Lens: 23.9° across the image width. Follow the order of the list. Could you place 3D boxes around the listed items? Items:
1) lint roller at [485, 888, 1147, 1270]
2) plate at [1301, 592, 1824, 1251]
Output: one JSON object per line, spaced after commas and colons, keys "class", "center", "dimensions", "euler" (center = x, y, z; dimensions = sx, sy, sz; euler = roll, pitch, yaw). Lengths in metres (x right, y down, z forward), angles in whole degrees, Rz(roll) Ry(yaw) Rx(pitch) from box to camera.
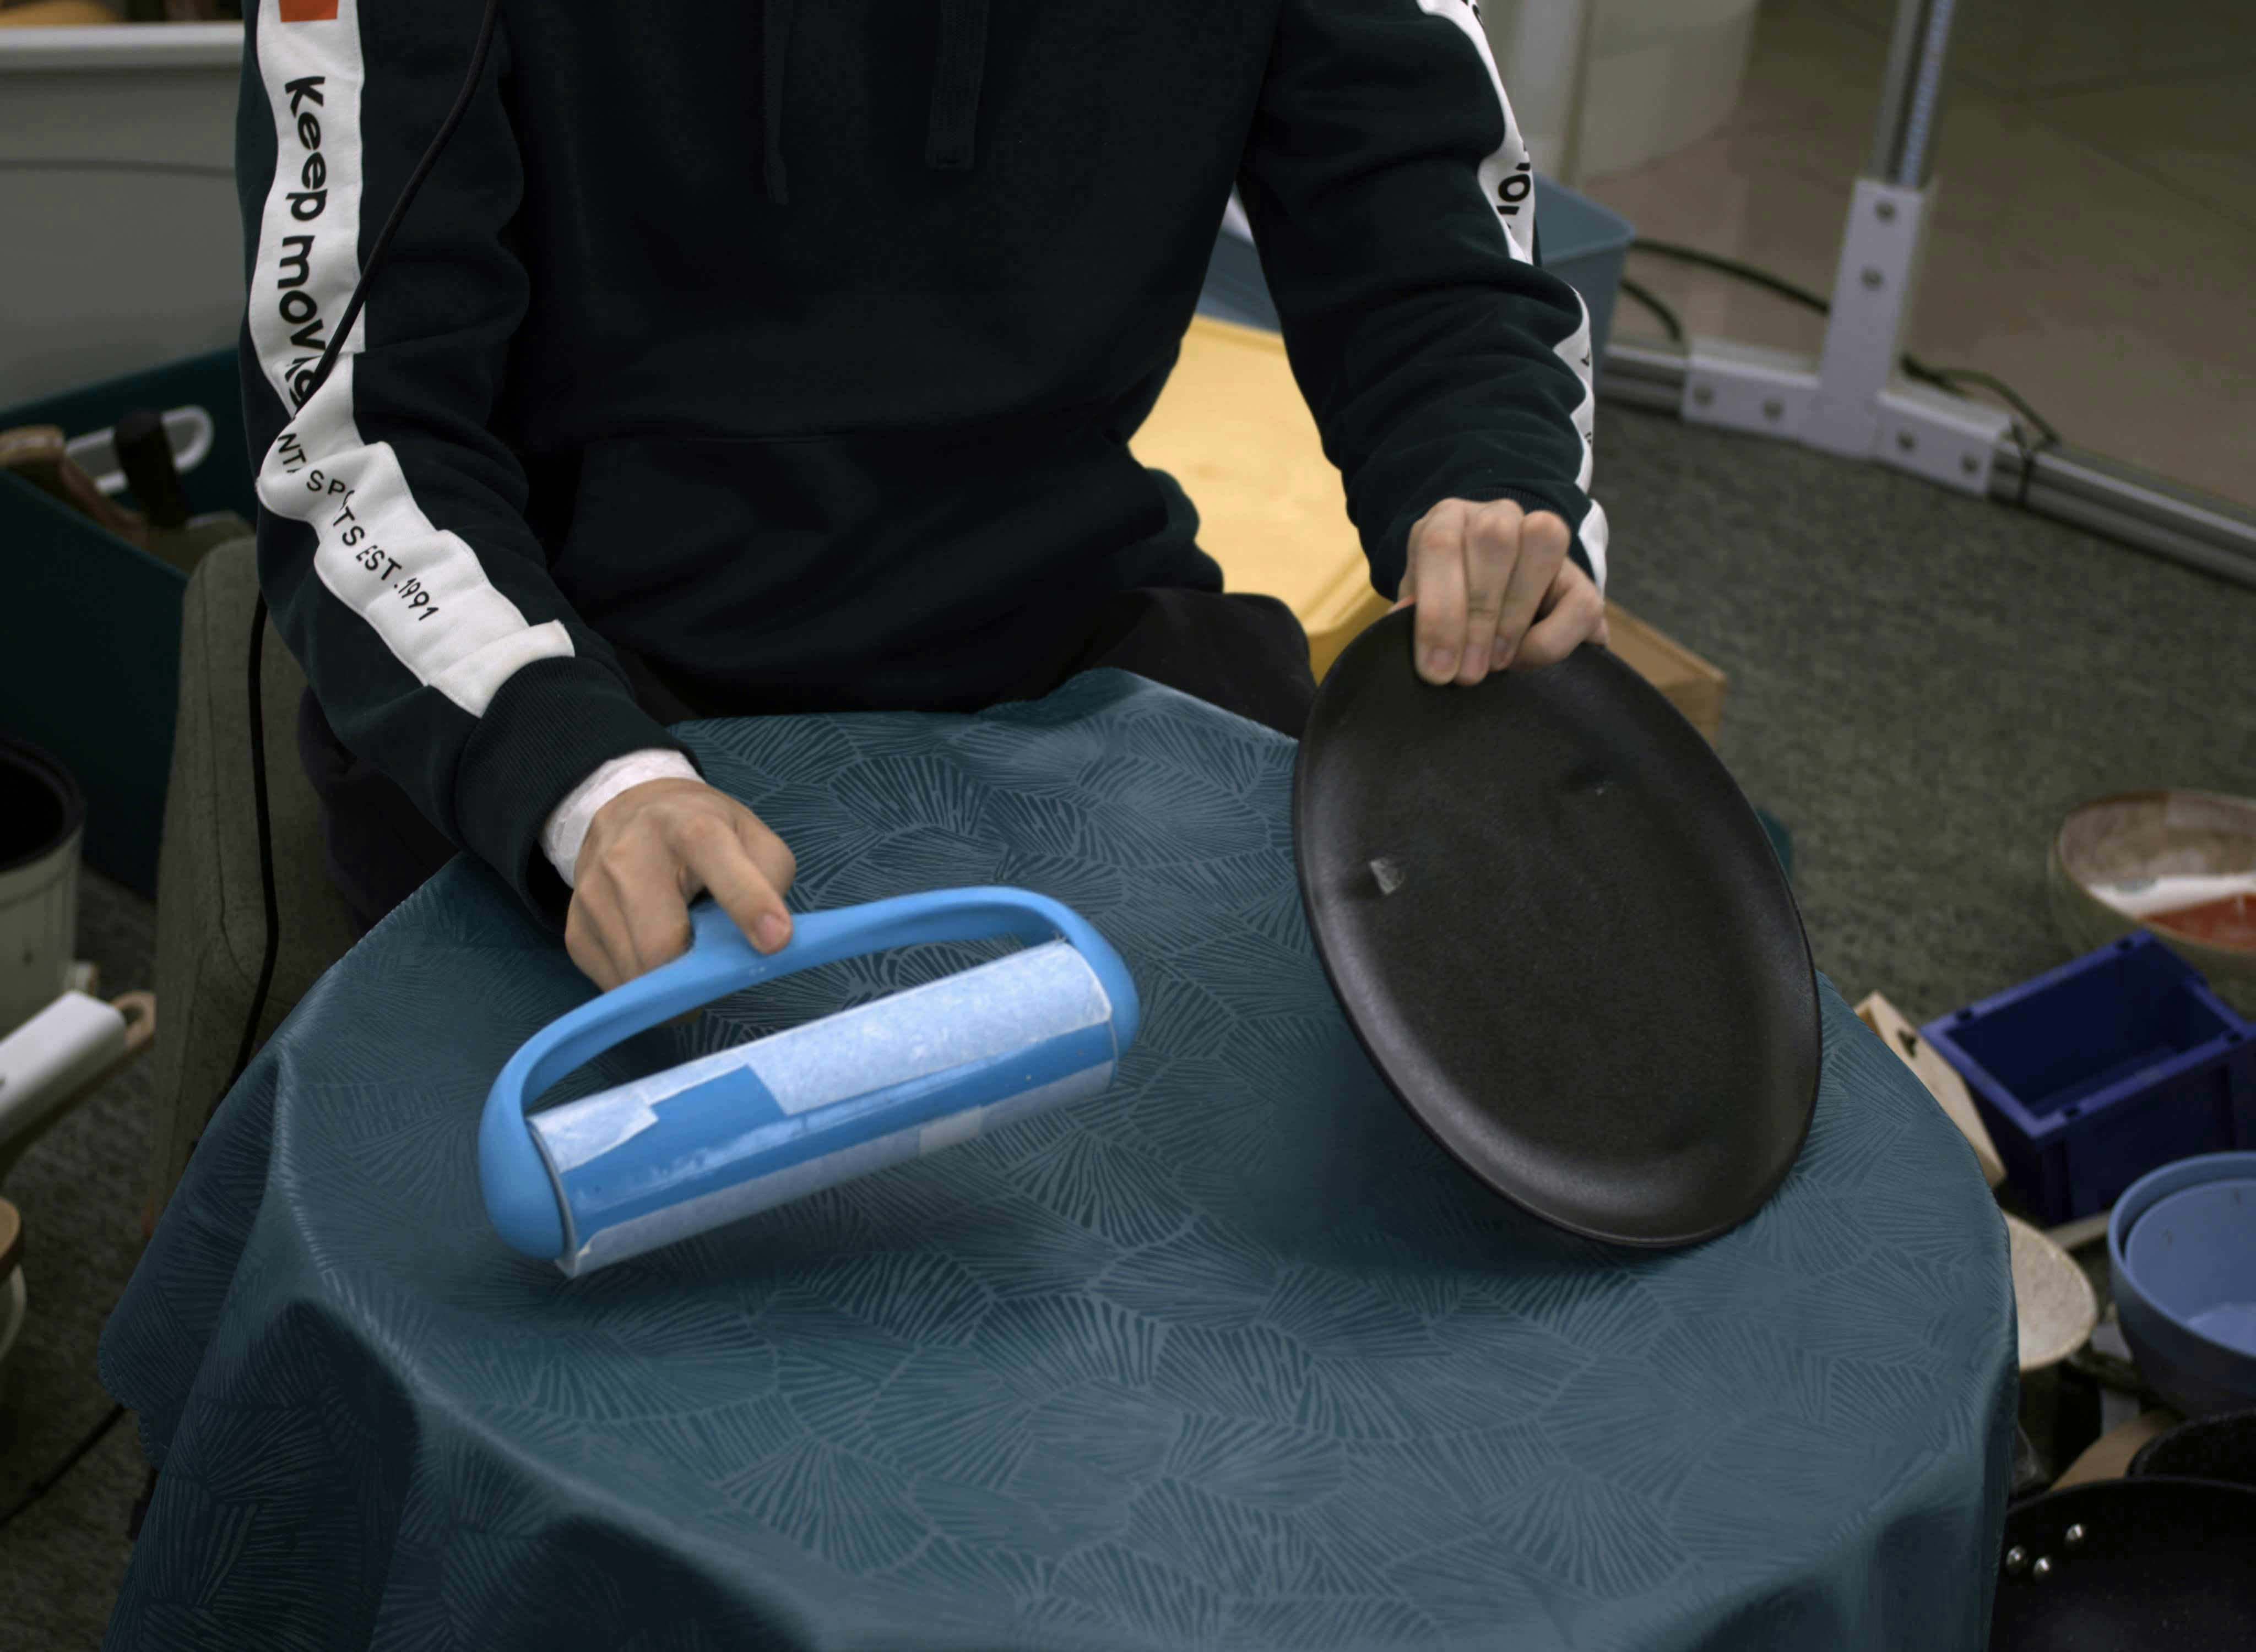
{"class": "lint roller", "center": [-0.127, 0.063, 1.766], "dimensions": [0.228, 0.067, 0.182], "euler": [-20, 33, -22]}
{"class": "plate", "center": [0.146, 0.033, 1.834], "dimensions": [0.242, 0.023, 0.246], "euler": [21, 53, -32]}
